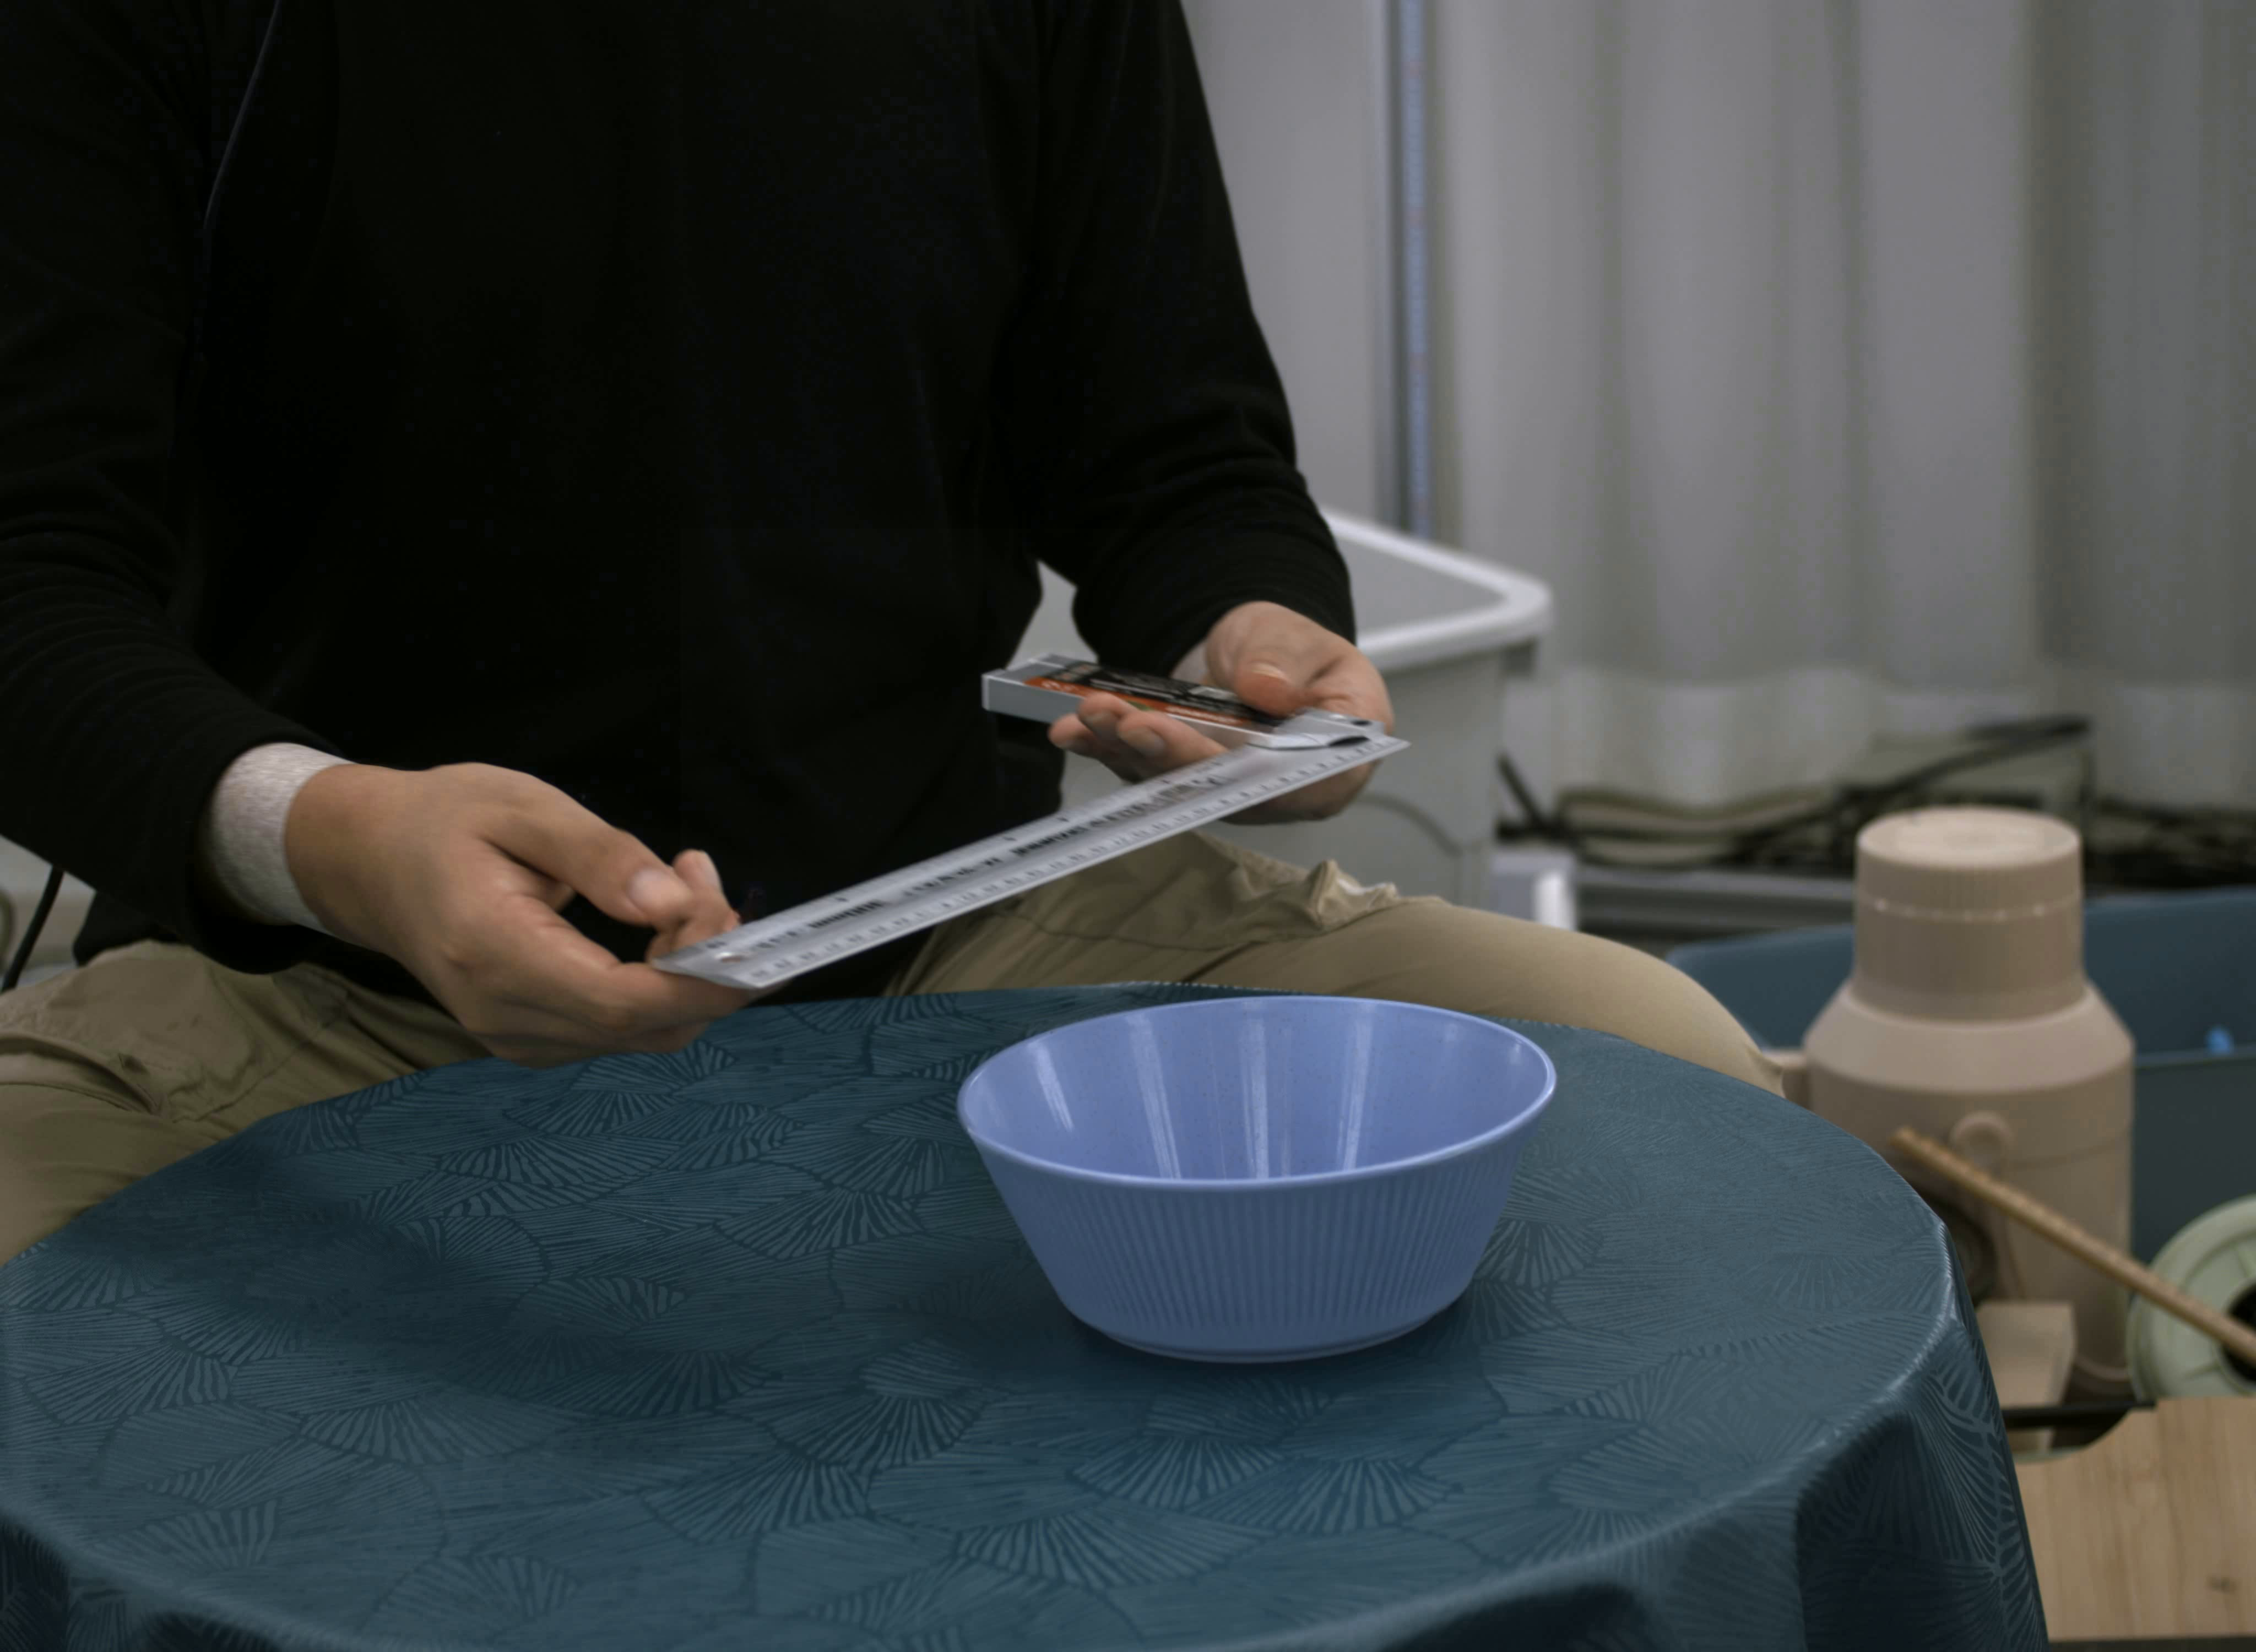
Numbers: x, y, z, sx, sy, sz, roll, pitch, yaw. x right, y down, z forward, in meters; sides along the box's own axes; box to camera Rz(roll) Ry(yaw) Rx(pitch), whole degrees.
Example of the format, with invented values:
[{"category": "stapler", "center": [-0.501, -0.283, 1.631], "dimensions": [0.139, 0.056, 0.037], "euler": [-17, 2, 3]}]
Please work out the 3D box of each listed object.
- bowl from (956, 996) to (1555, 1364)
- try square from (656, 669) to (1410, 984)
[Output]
[{"category": "bowl", "center": [0.038, 0.106, 1.603], "dimensions": [0.175, 0.070, 0.177], "euler": [-3, 15, 1]}, {"category": "try square", "center": [-0.063, -0.002, 1.677], "dimensions": [0.153, 0.016, 0.312], "euler": [10, 19, 38]}]
